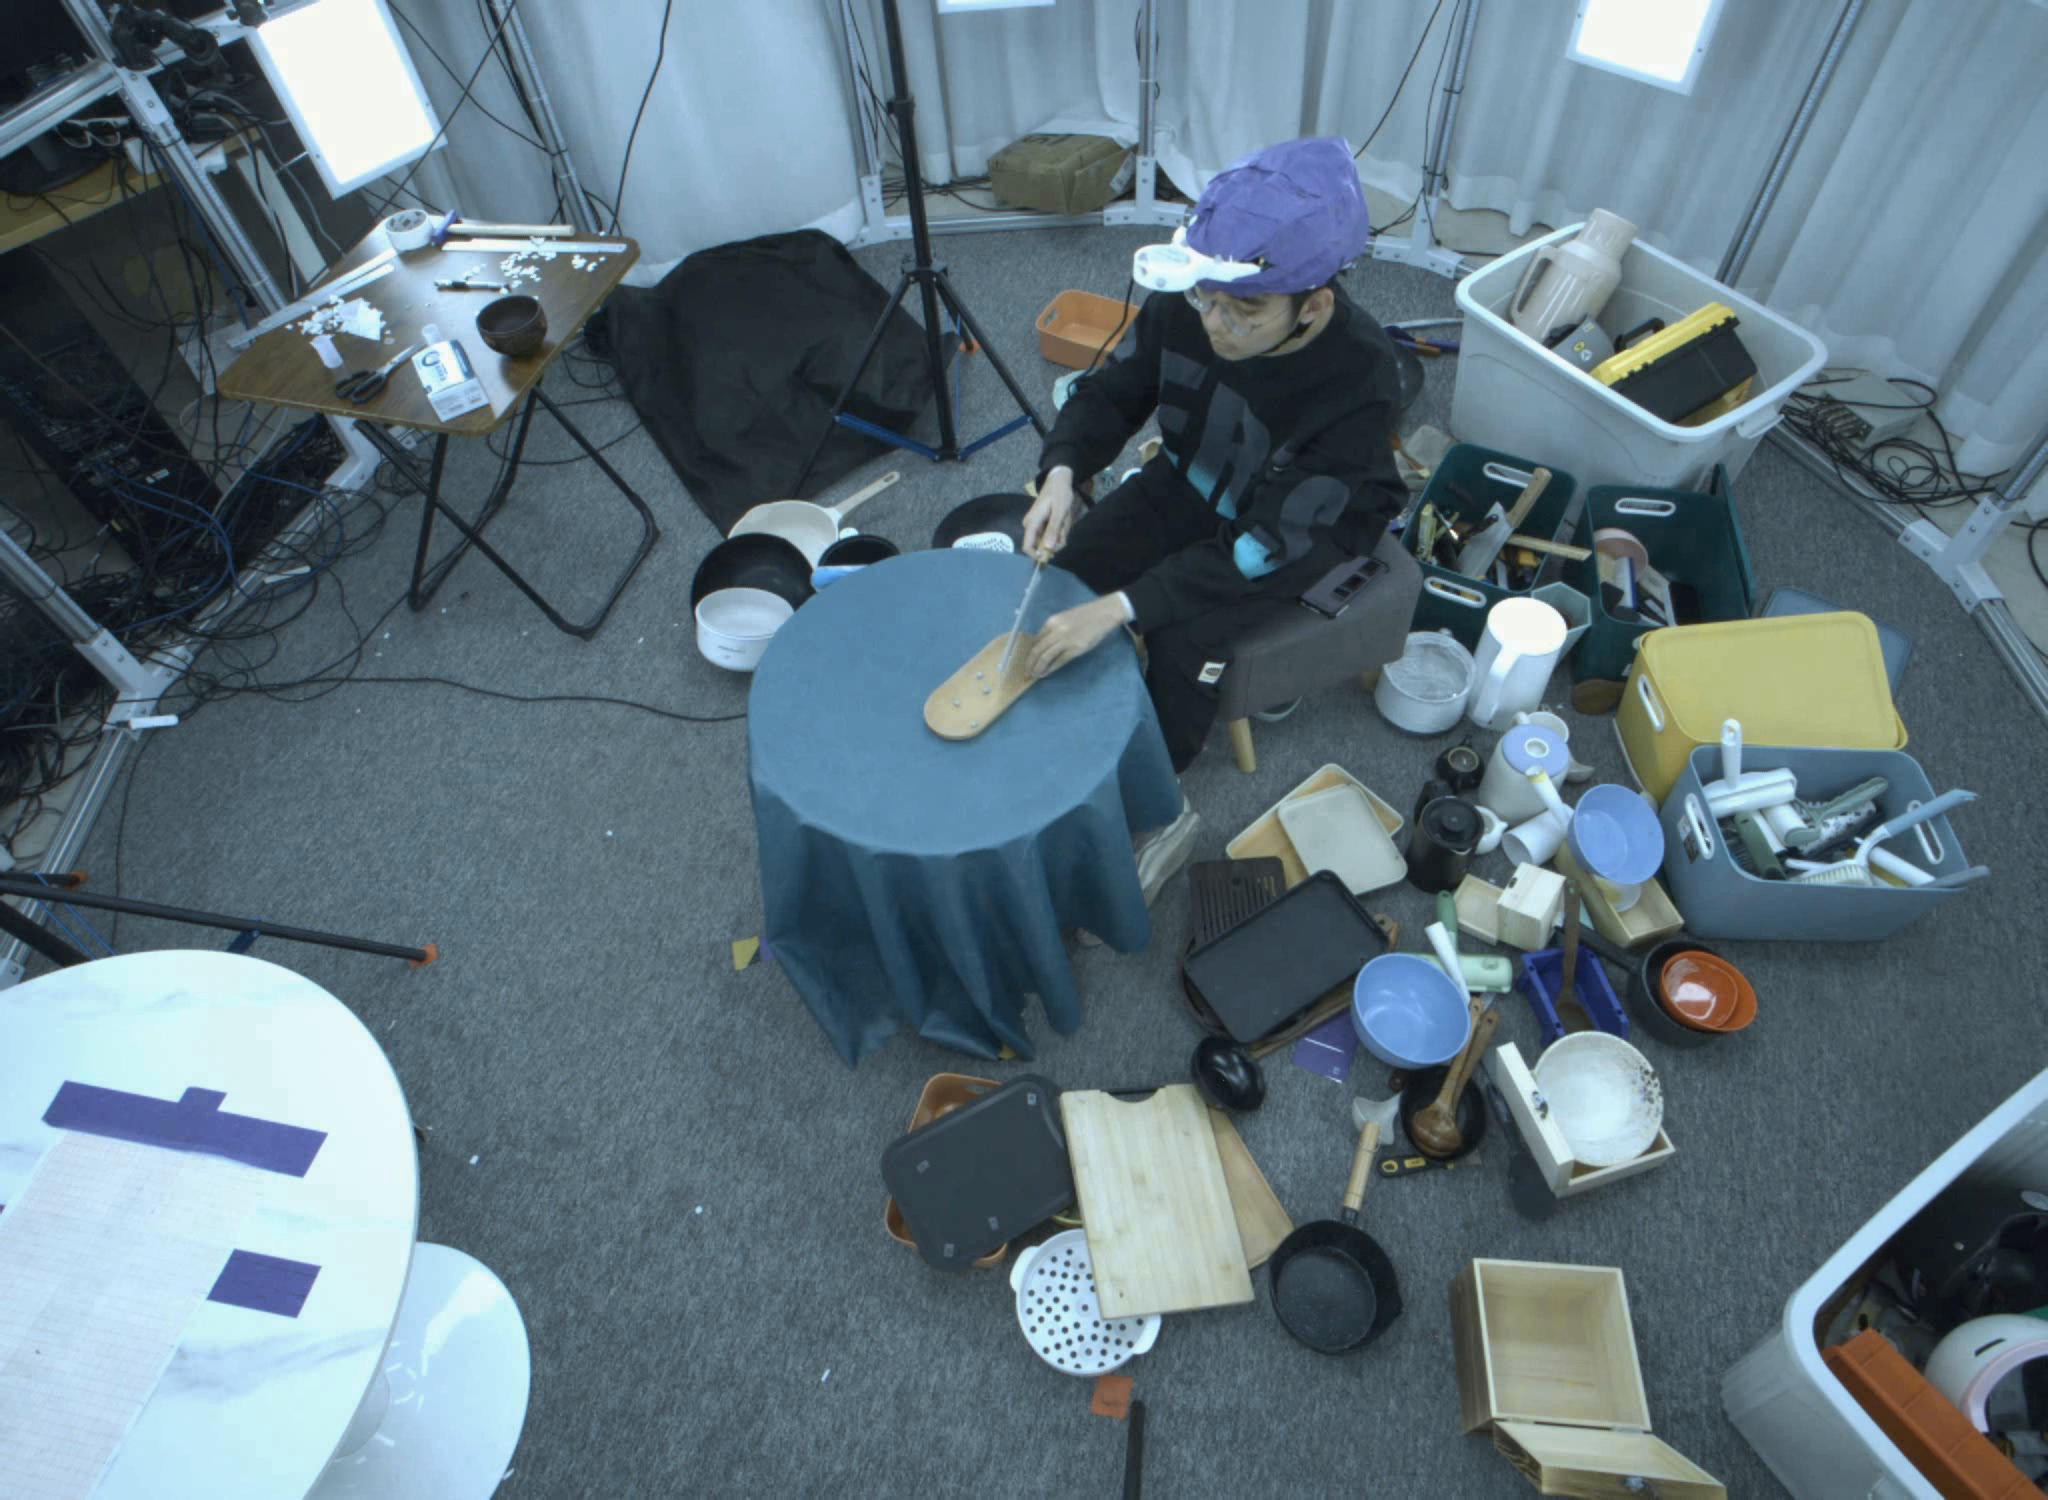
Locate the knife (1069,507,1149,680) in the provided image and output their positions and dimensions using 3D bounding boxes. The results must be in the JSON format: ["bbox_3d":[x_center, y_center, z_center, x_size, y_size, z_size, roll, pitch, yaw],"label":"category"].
[{"bbox_3d":[0.126,-0.235,1.860,0.021,0.093,0.305,22,63,5],"label":"knife"}]

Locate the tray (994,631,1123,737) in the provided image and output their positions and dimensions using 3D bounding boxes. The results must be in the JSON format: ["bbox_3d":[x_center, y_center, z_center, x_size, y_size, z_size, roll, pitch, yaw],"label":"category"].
[{"bbox_3d":[0.053,-0.100,1.845,0.233,0.020,0.100,-39,64,-24],"label":"tray"}]
